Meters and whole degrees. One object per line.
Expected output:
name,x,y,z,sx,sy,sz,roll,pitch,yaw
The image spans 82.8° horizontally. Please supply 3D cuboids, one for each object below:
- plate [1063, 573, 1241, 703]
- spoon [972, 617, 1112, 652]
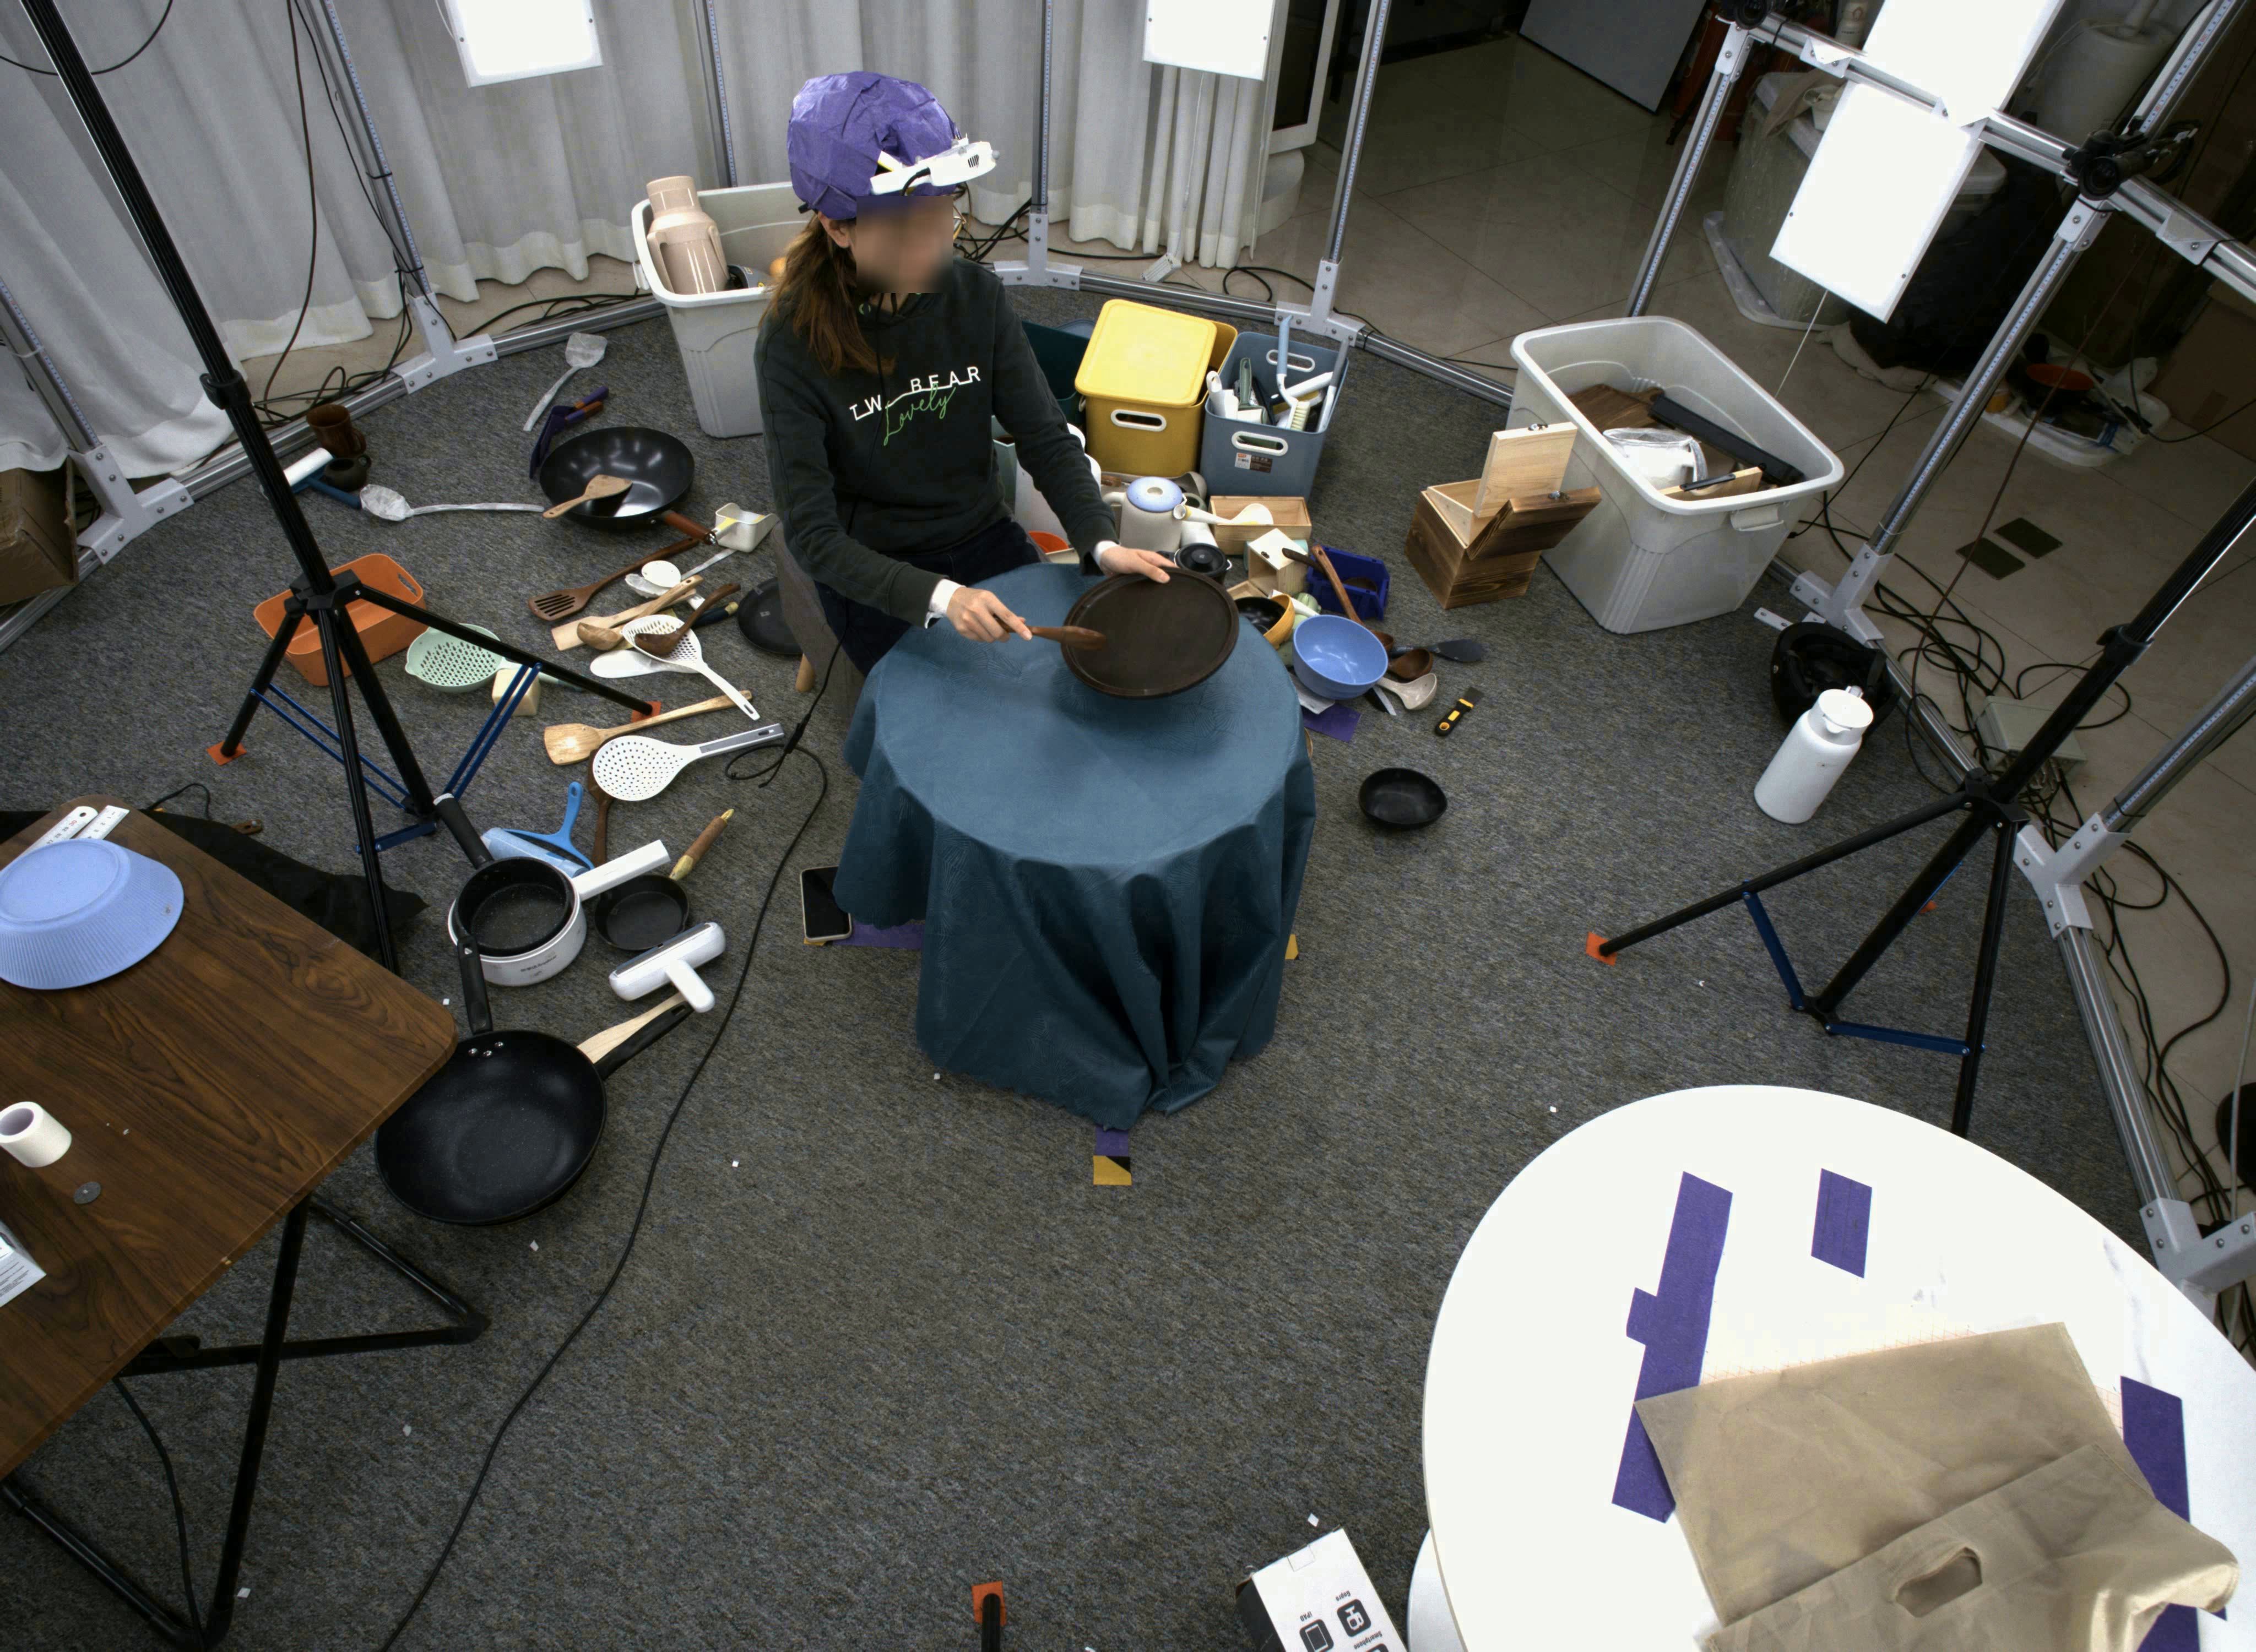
plate,0.034,-0.268,1.816,0.255,0.028,0.261,-5,51,6
spoon,-0.120,-0.261,1.753,0.217,0.074,0.017,13,87,26
